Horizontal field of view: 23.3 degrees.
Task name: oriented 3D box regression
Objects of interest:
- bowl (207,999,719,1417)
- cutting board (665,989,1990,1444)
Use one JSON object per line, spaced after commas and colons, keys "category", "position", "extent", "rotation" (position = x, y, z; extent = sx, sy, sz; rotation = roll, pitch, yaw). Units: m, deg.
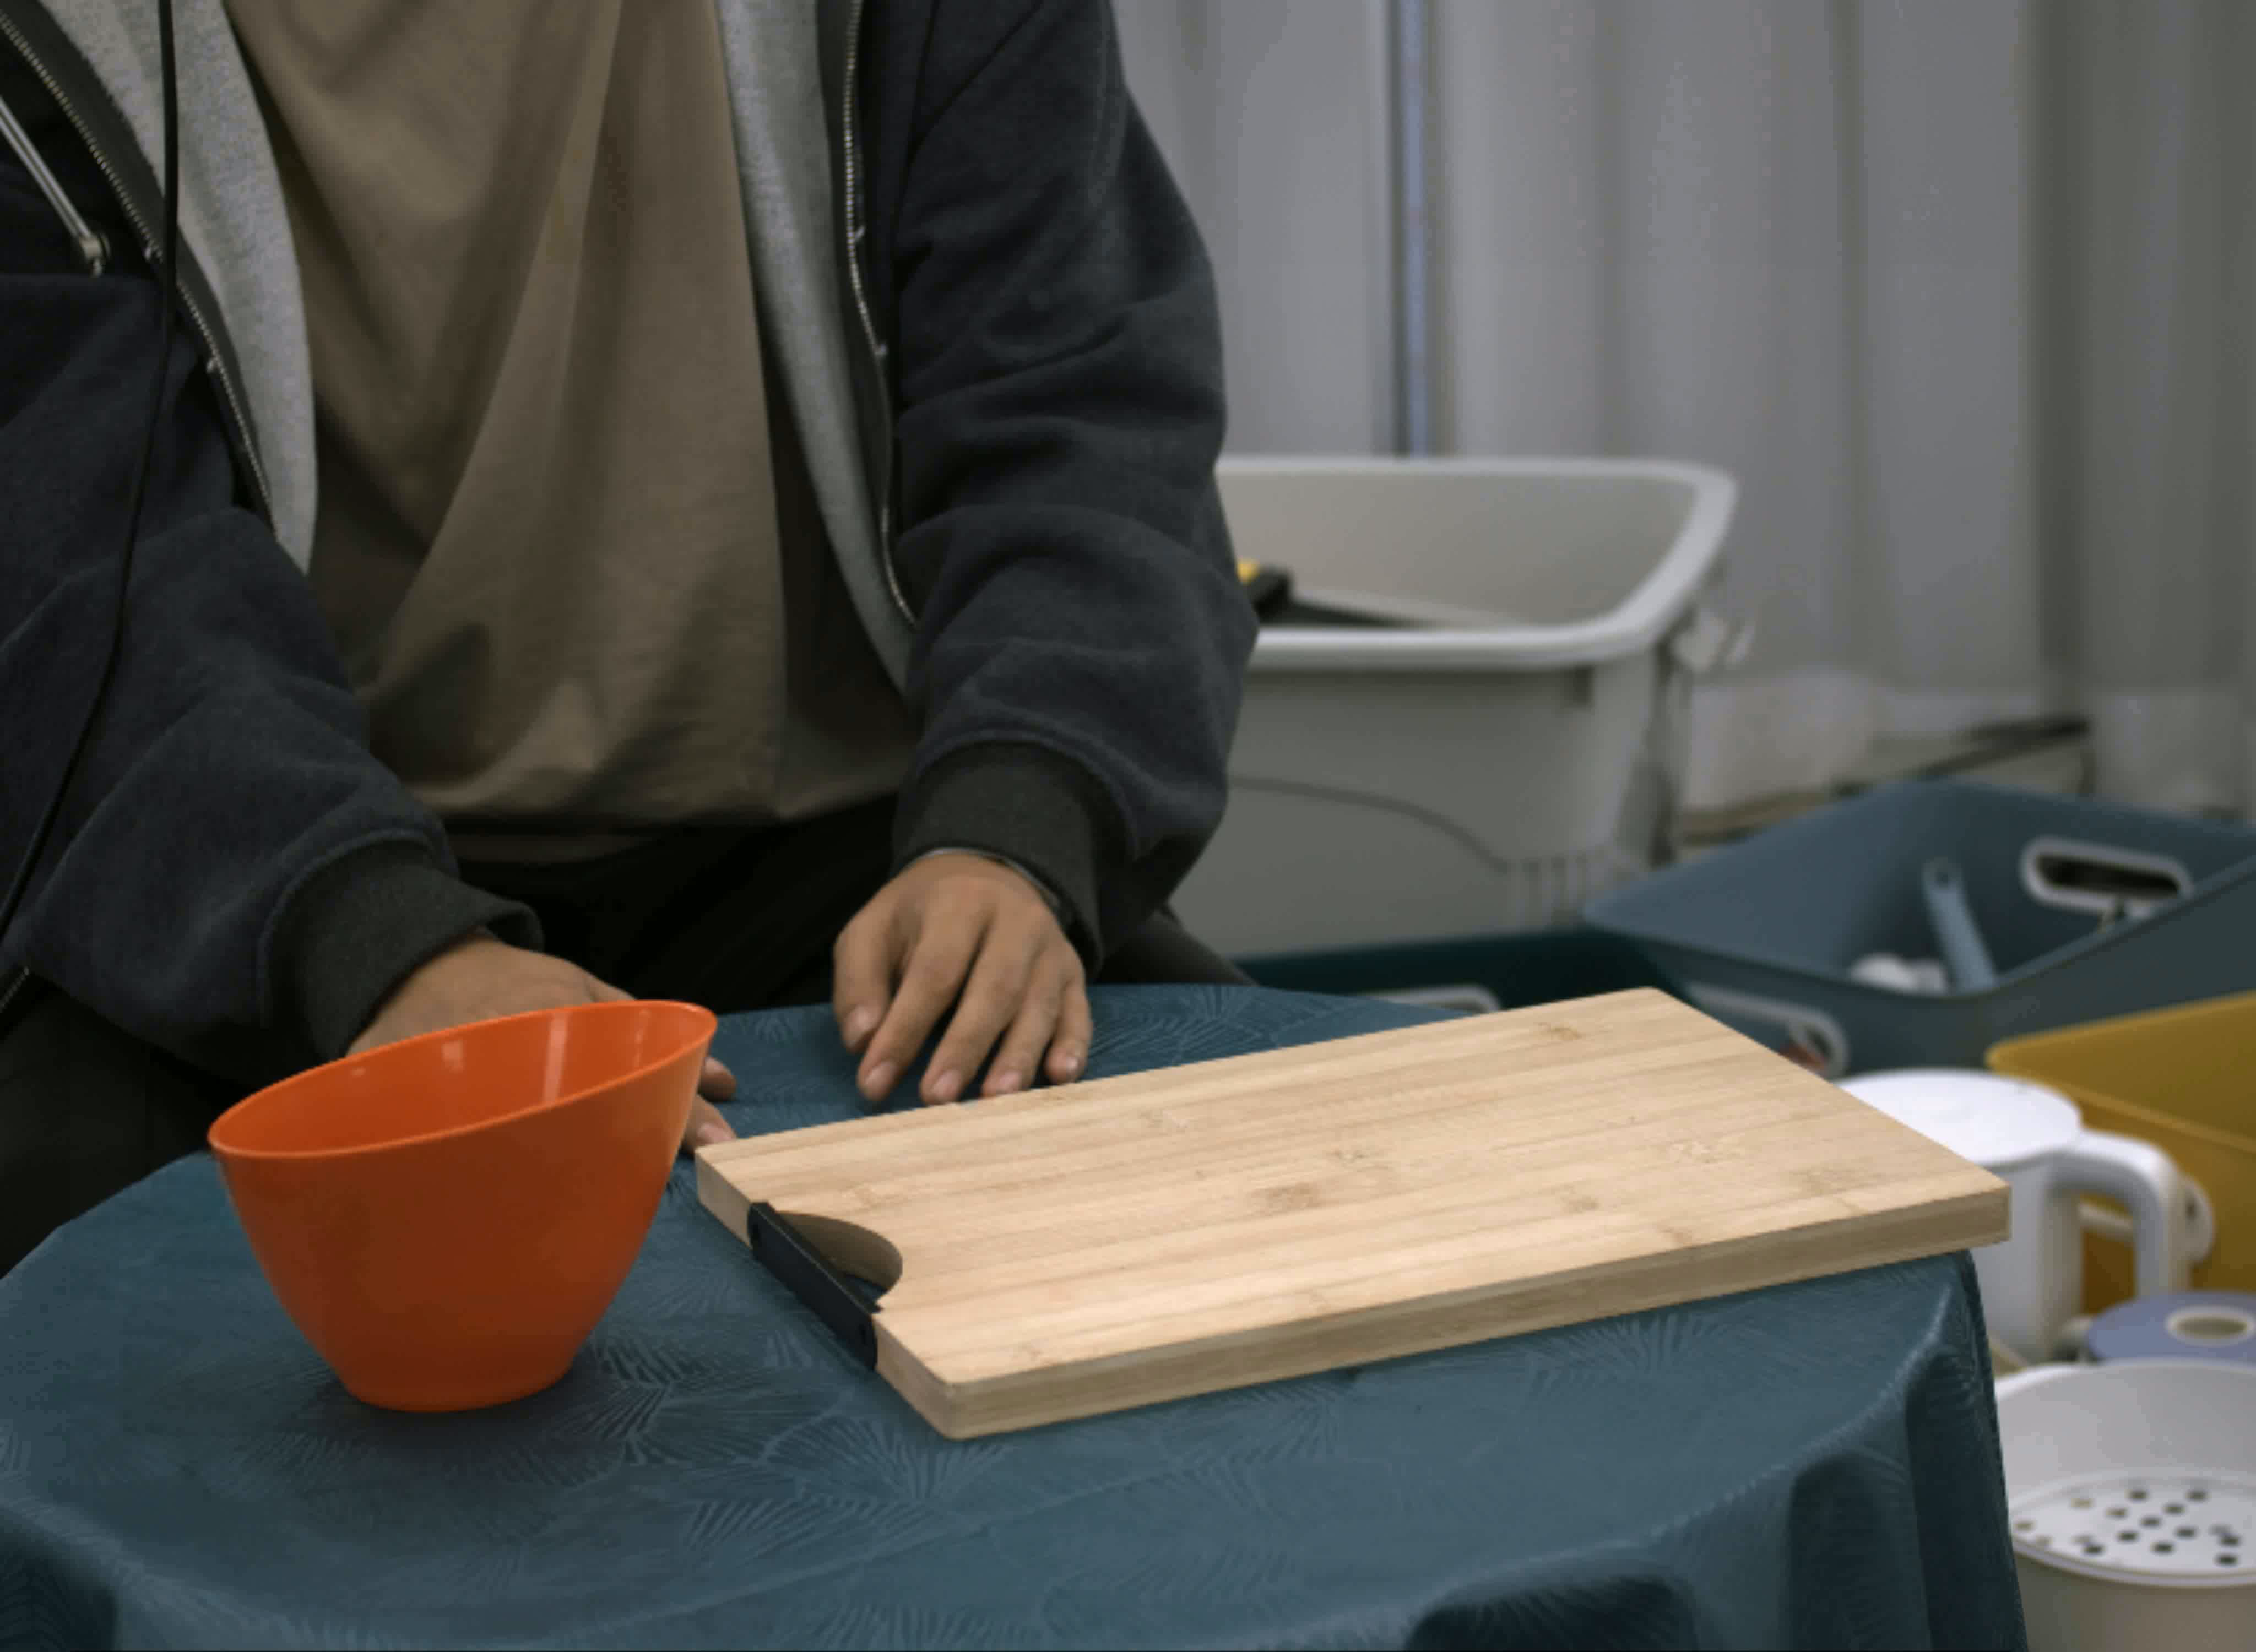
{"category": "bowl", "position": [-0.187, 0.111, 1.570], "extent": [0.147, 0.104, 0.149], "rotation": [-3, 16, 1]}
{"category": "cutting board", "position": [0.057, 0.114, 1.676], "extent": [0.347, 0.023, 0.252], "rotation": [-9, 15, -21]}
